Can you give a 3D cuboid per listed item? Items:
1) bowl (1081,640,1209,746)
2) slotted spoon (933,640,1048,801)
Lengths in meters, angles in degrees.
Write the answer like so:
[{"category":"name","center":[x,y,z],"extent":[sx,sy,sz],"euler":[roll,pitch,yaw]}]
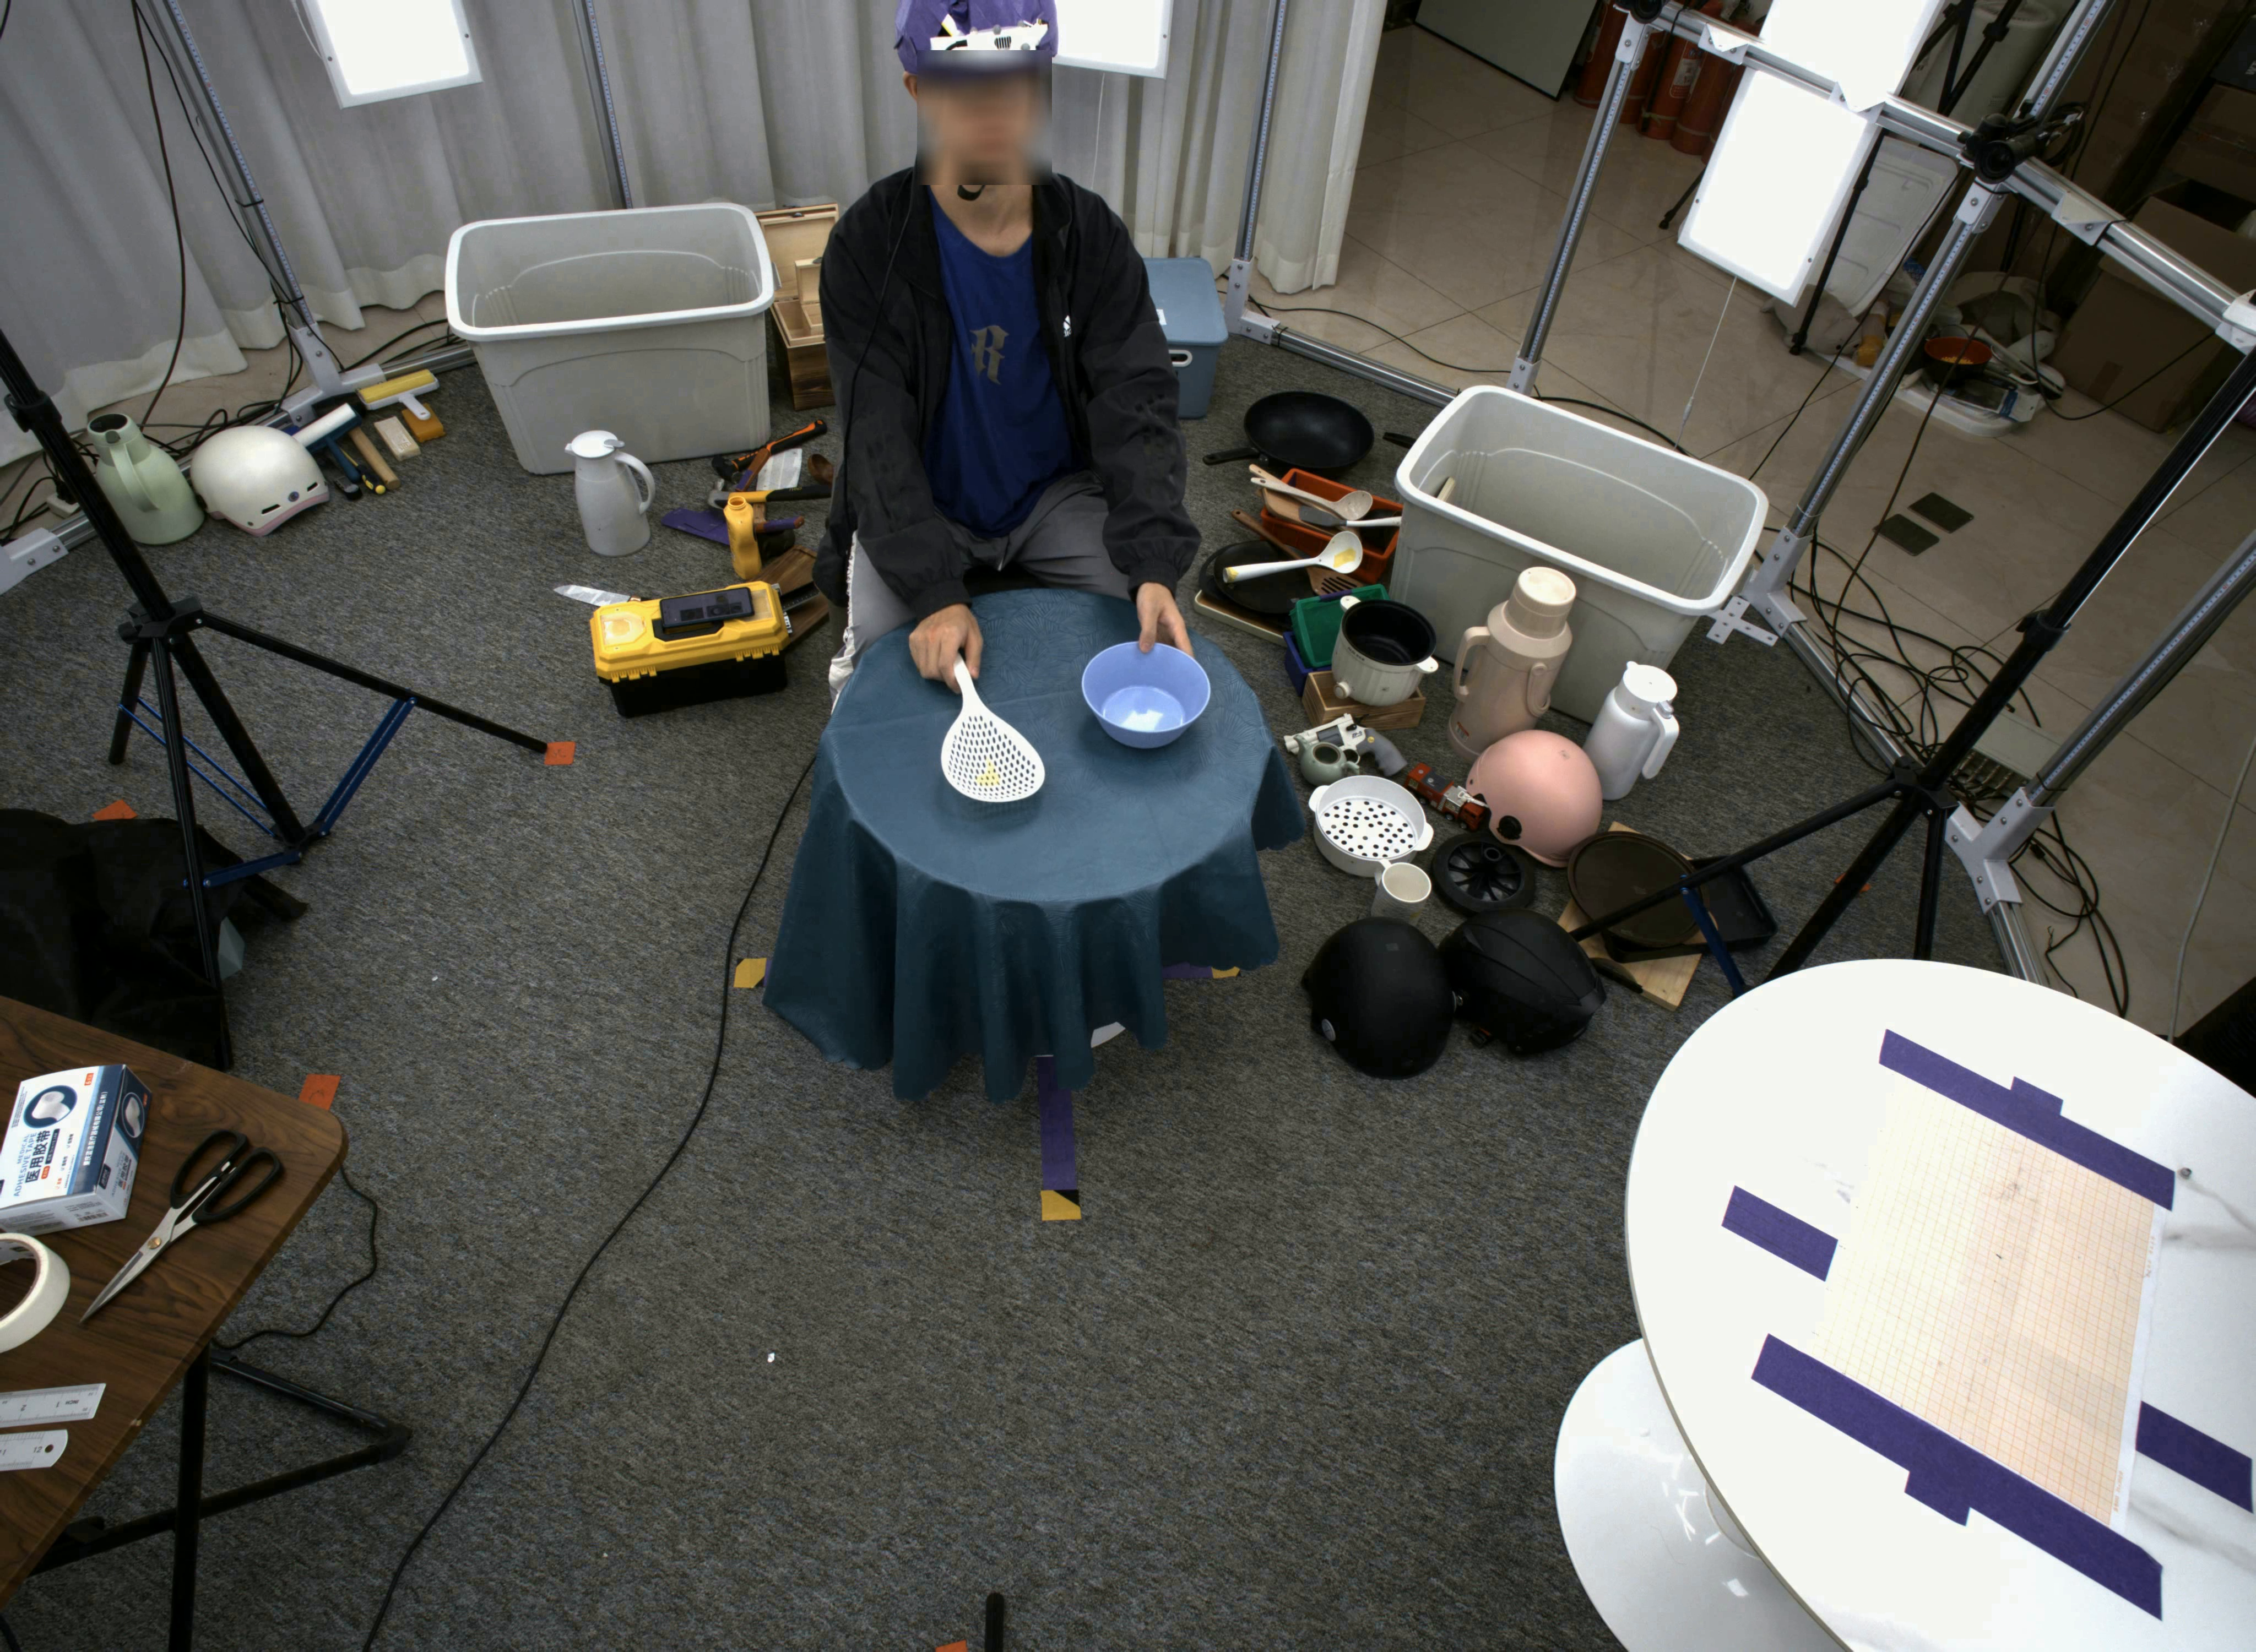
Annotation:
[{"category":"bowl","center":[0.021,-0.175,1.778],"extent":[0.176,0.068,0.180],"euler":[2,50,-3]},{"category":"slotted spoon","center":[-0.212,-0.154,1.760],"extent":[0.136,0.049,0.356],"euler":[-8,52,-19]}]
